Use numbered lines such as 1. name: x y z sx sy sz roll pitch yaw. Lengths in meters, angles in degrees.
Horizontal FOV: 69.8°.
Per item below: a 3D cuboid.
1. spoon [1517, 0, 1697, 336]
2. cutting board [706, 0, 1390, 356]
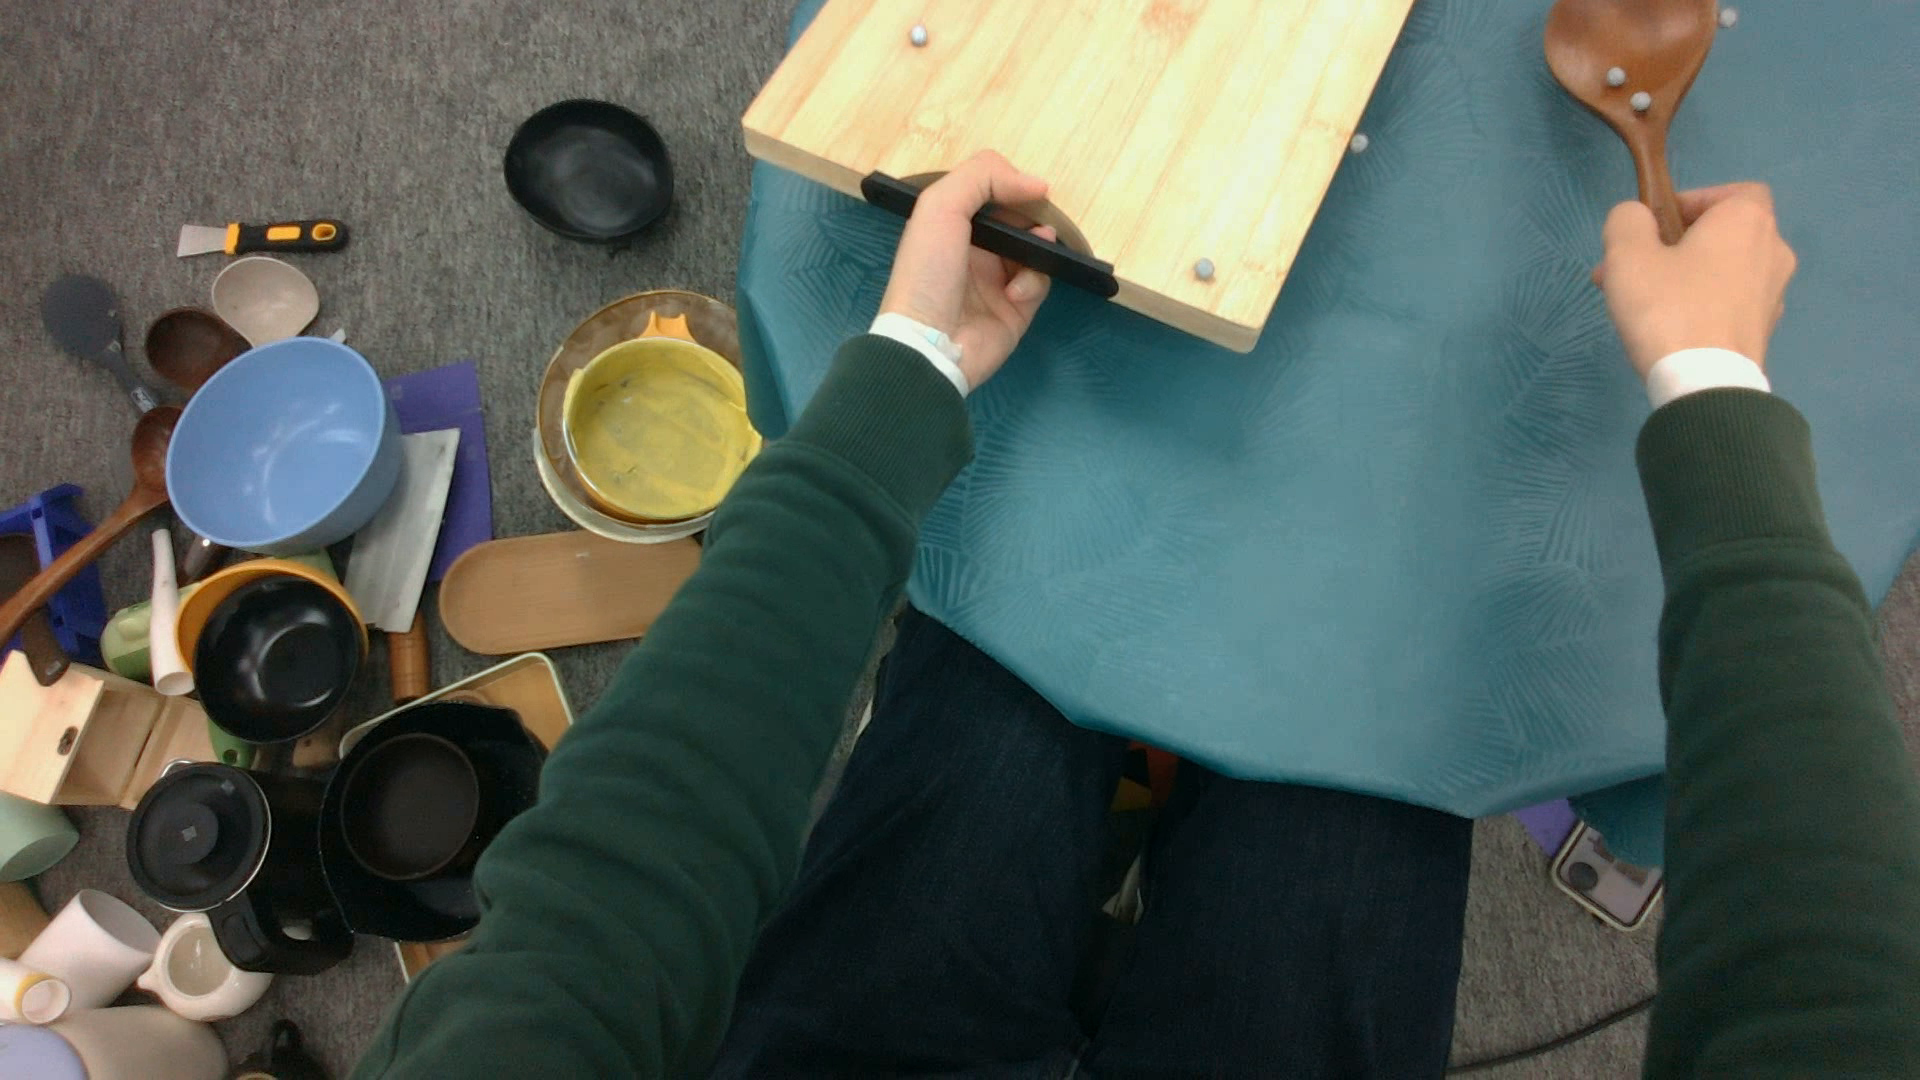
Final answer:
1. spoon: 0.294 -0.183 0.611 0.075 0.017 0.216 -8 61 25
2. cutting board: 0.073 -0.261 0.654 0.250 0.023 0.350 22 63 9
